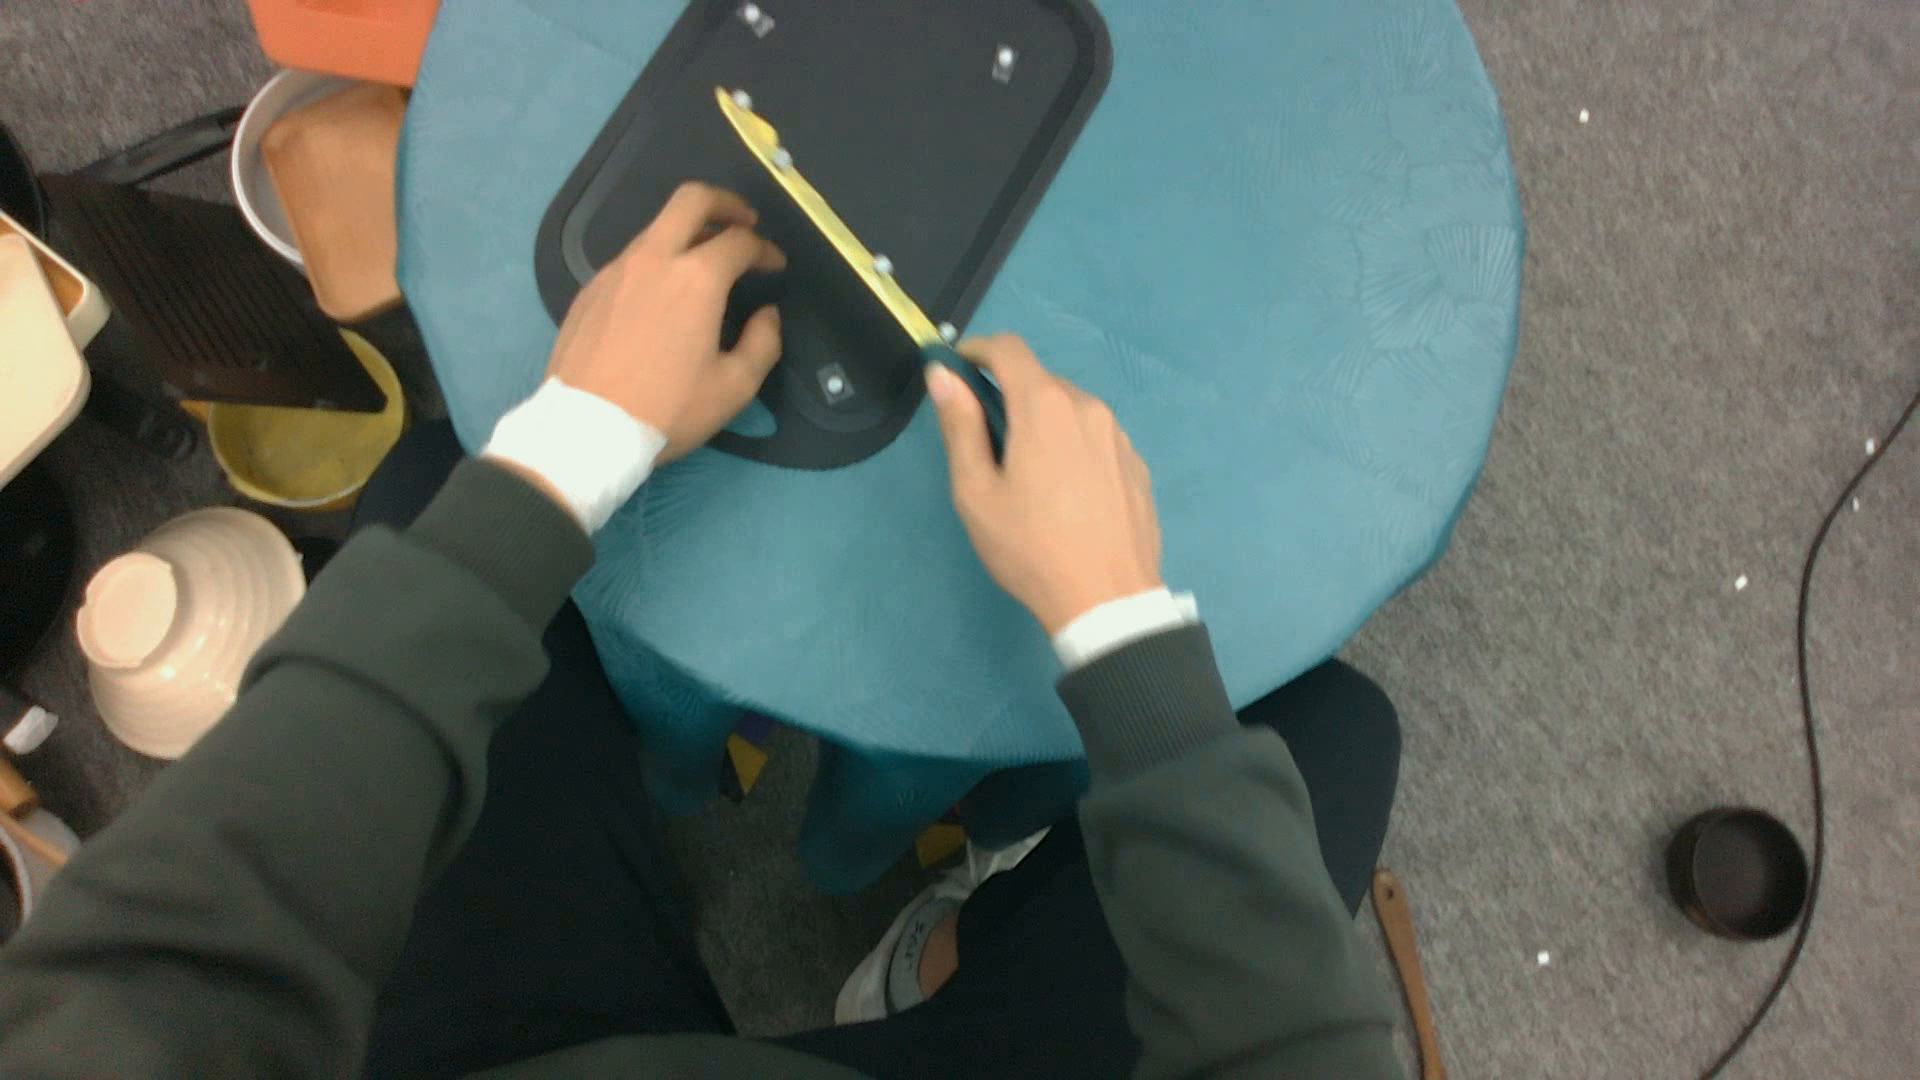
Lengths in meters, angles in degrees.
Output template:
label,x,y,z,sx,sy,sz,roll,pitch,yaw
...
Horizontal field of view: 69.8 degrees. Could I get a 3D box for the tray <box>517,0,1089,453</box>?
label,x,y,z,sx,sy,sz,roll,pitch,yaw
tray,-0.079,-0.203,0.721,0.211,0.010,0.326,30,75,-2

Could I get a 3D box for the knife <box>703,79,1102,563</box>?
label,x,y,z,sx,sy,sz,roll,pitch,yaw
knife,-0.029,-0.106,0.648,0.027,0.081,0.289,-39,89,14
